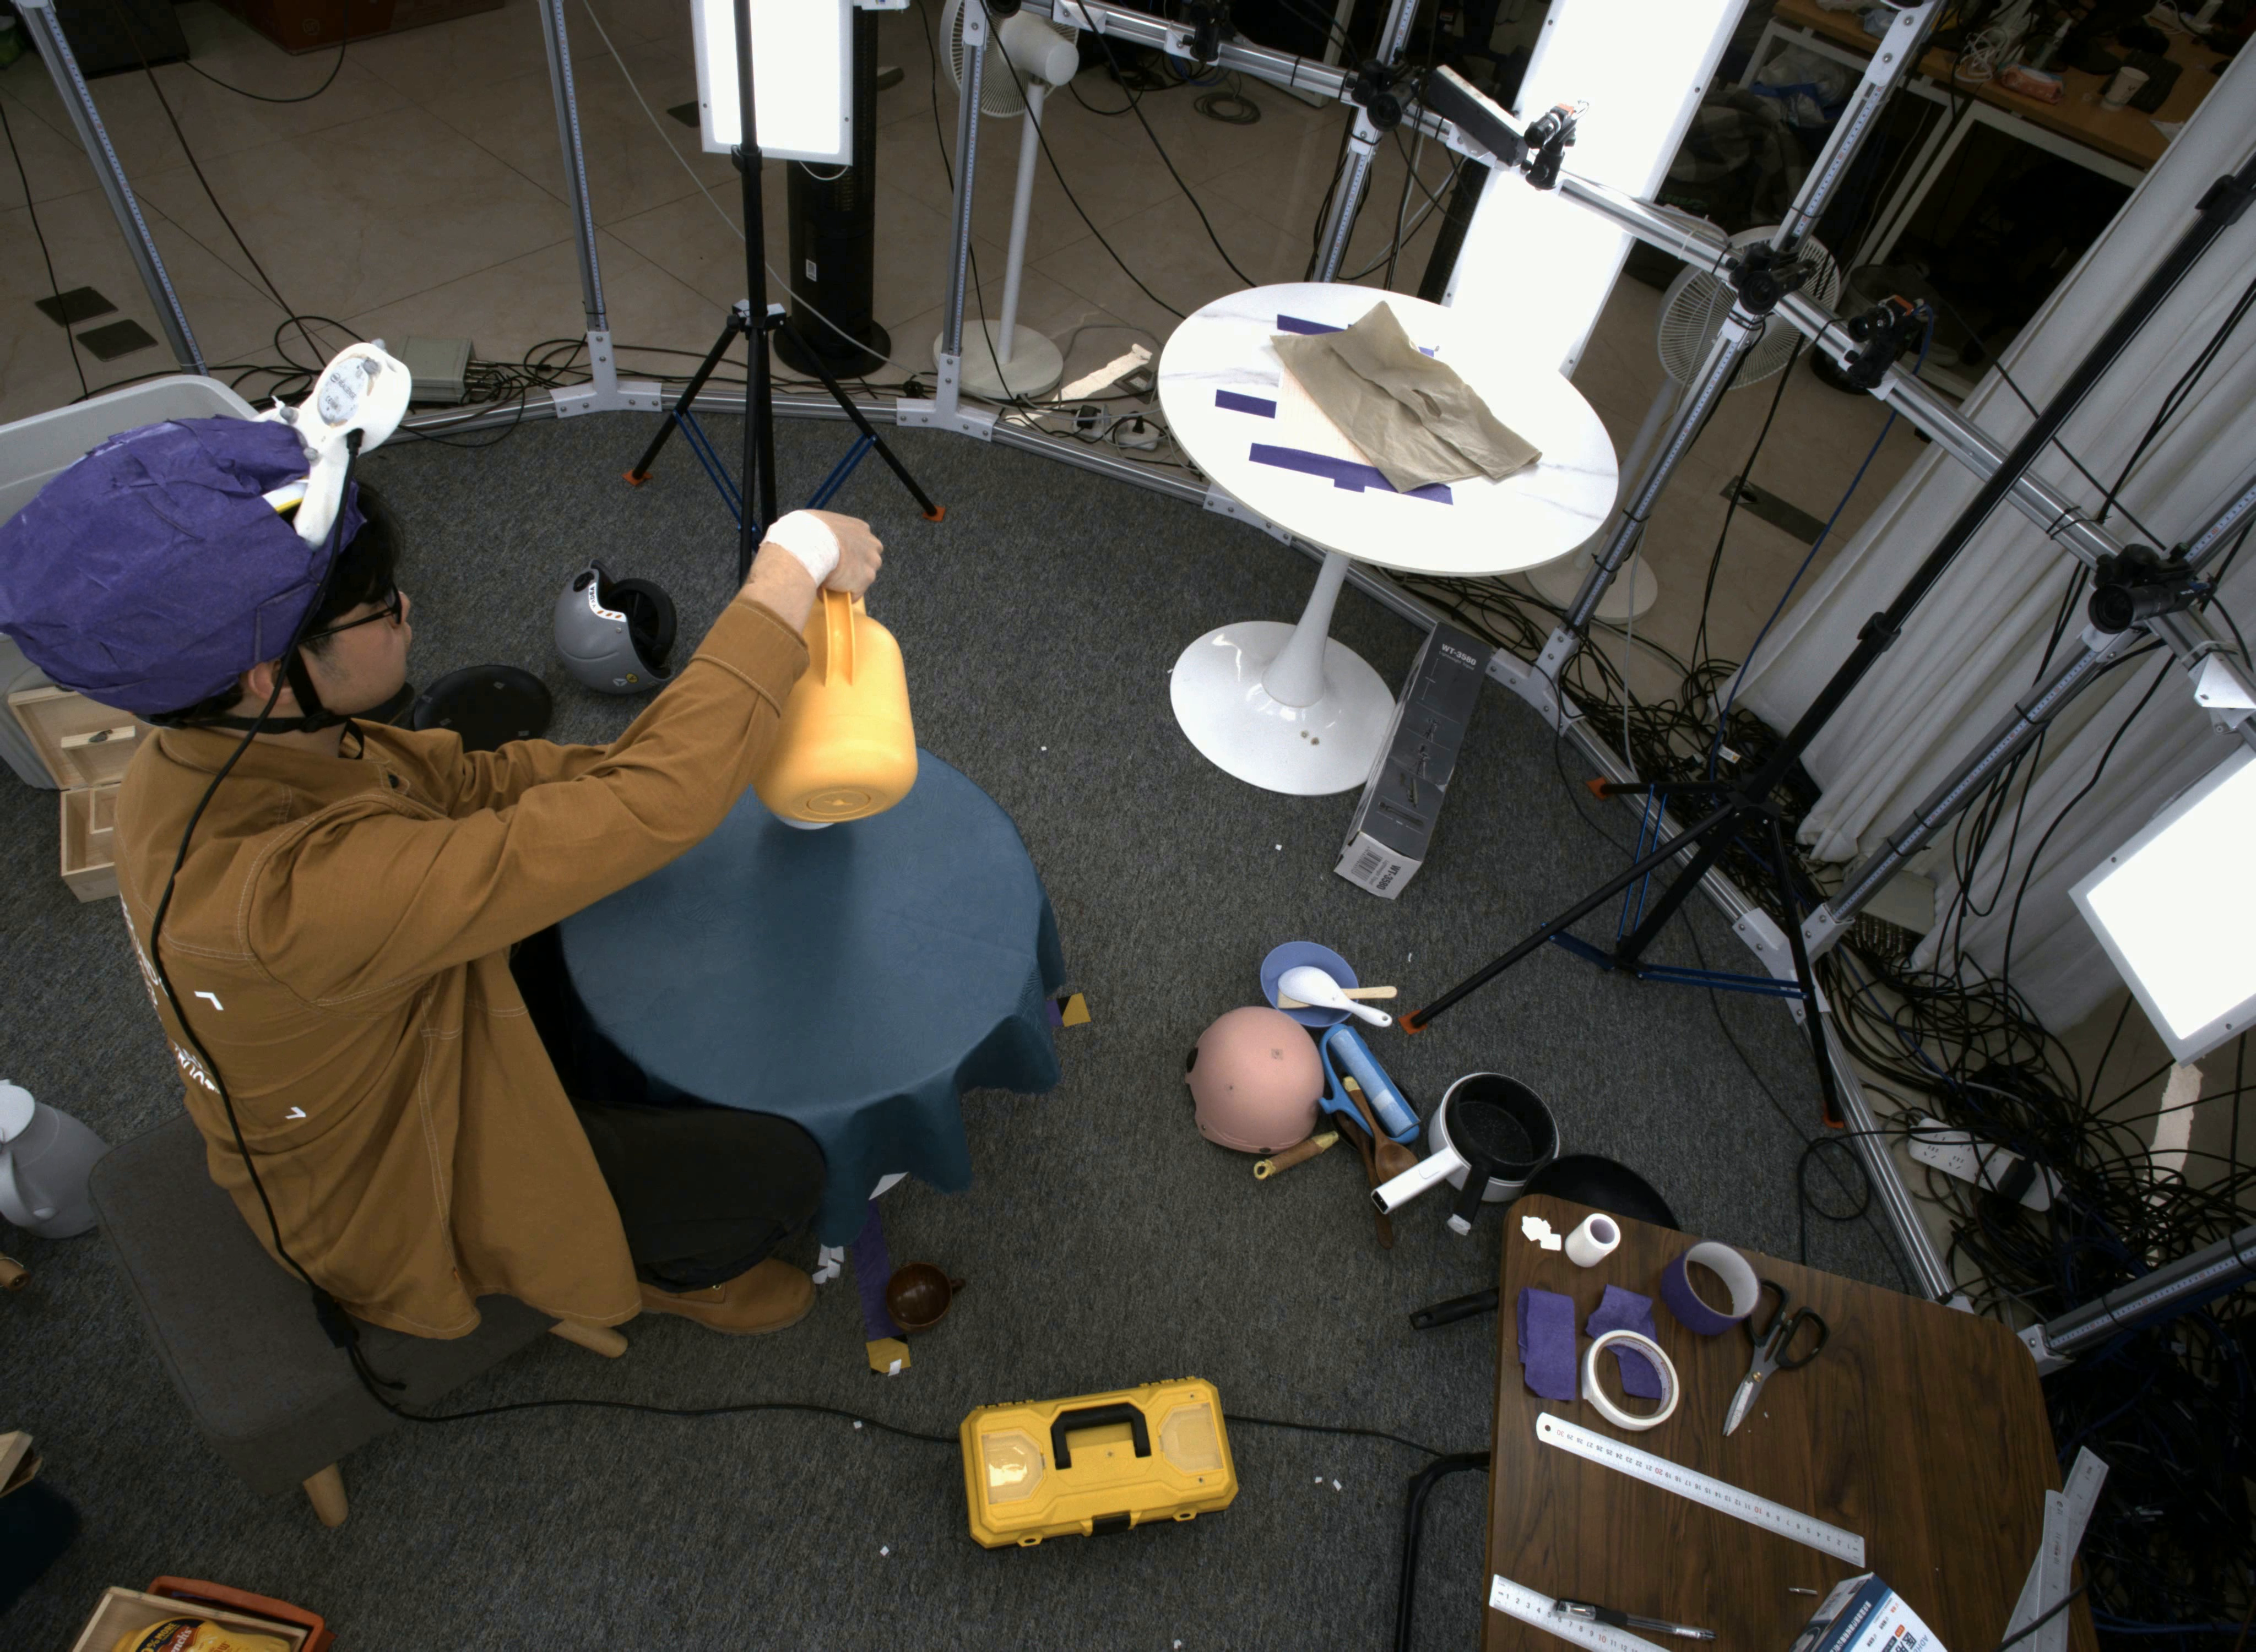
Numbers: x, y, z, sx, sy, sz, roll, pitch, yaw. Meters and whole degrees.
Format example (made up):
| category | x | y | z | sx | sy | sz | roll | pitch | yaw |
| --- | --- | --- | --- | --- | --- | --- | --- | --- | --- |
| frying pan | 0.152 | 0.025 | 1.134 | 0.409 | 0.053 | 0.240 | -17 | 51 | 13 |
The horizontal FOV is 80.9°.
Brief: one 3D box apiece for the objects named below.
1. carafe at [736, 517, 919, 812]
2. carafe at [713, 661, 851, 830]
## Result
| category | x | y | z | sx | sy | sz | roll | pitch | yaw |
| --- | --- | --- | --- | --- | --- | --- | --- | --- | --- |
| carafe | -0.301 | -0.164 | 1.265 | 0.164 | 0.203 | 0.258 | -9 | 72 | -20 |
| carafe | -0.407 | -0.110 | 1.566 | 0.173 | 0.272 | 0.122 | -2 | 63 | -14 |
